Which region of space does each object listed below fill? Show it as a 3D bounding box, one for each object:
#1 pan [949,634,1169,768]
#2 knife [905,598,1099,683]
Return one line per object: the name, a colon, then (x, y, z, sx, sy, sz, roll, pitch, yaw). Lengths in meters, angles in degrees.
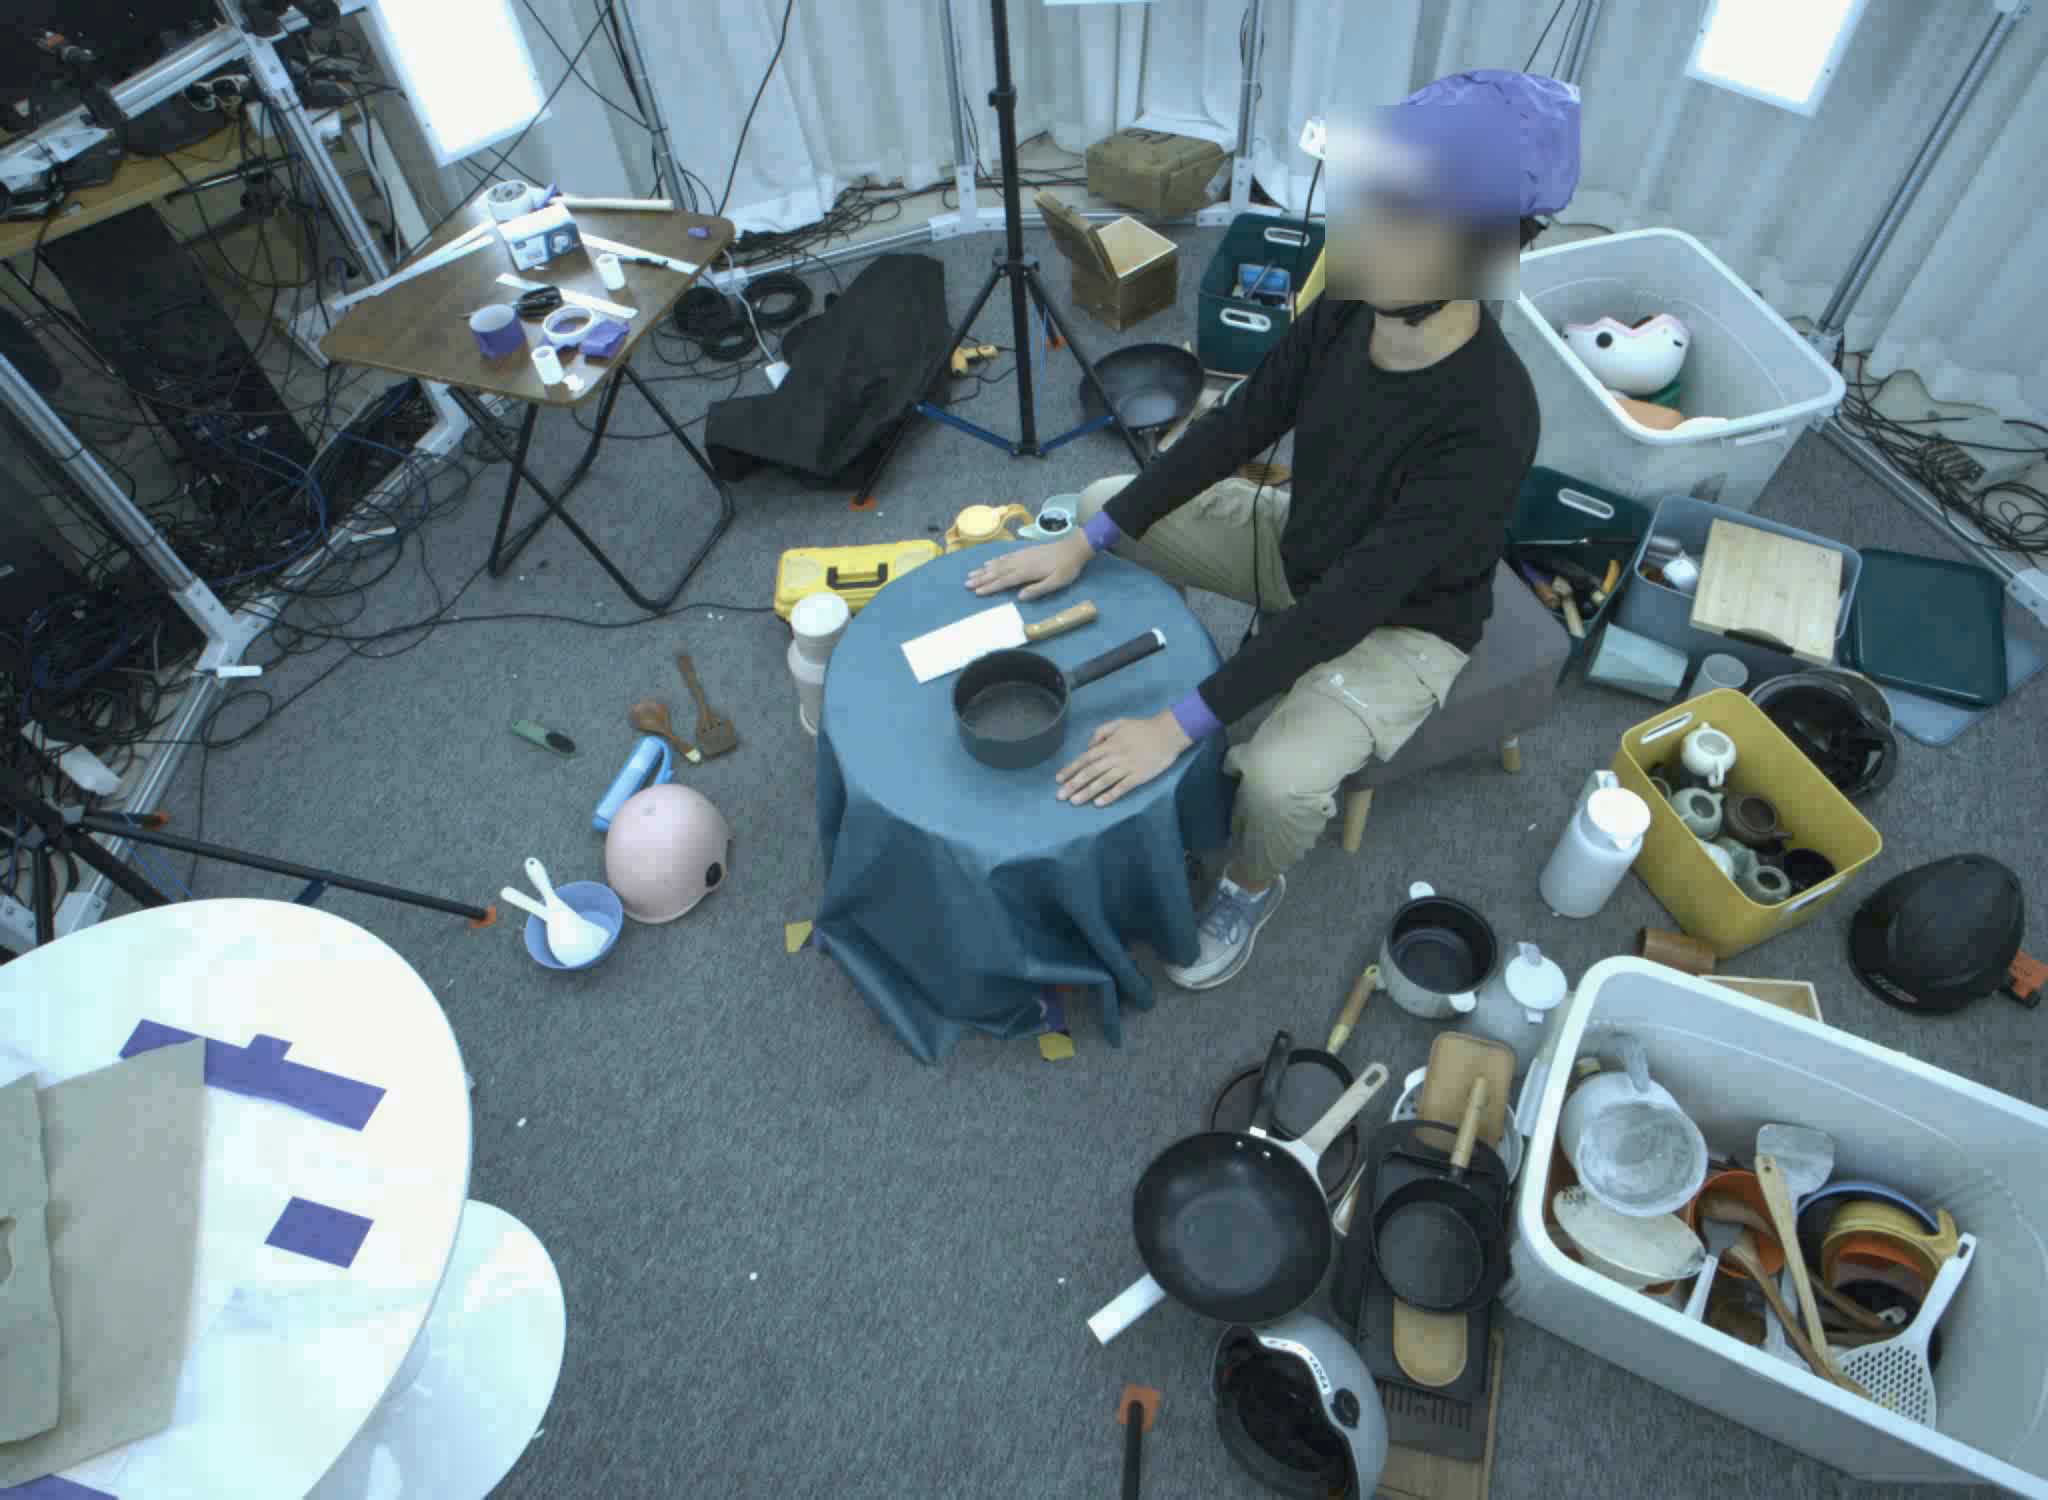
pan: (0.055, -0.086, 1.793, 0.331, 0.087, 0.169, -19, 56, -11)
knife: (-0.037, -0.187, 1.909, 0.307, 0.021, 0.091, -22, 55, -11)
